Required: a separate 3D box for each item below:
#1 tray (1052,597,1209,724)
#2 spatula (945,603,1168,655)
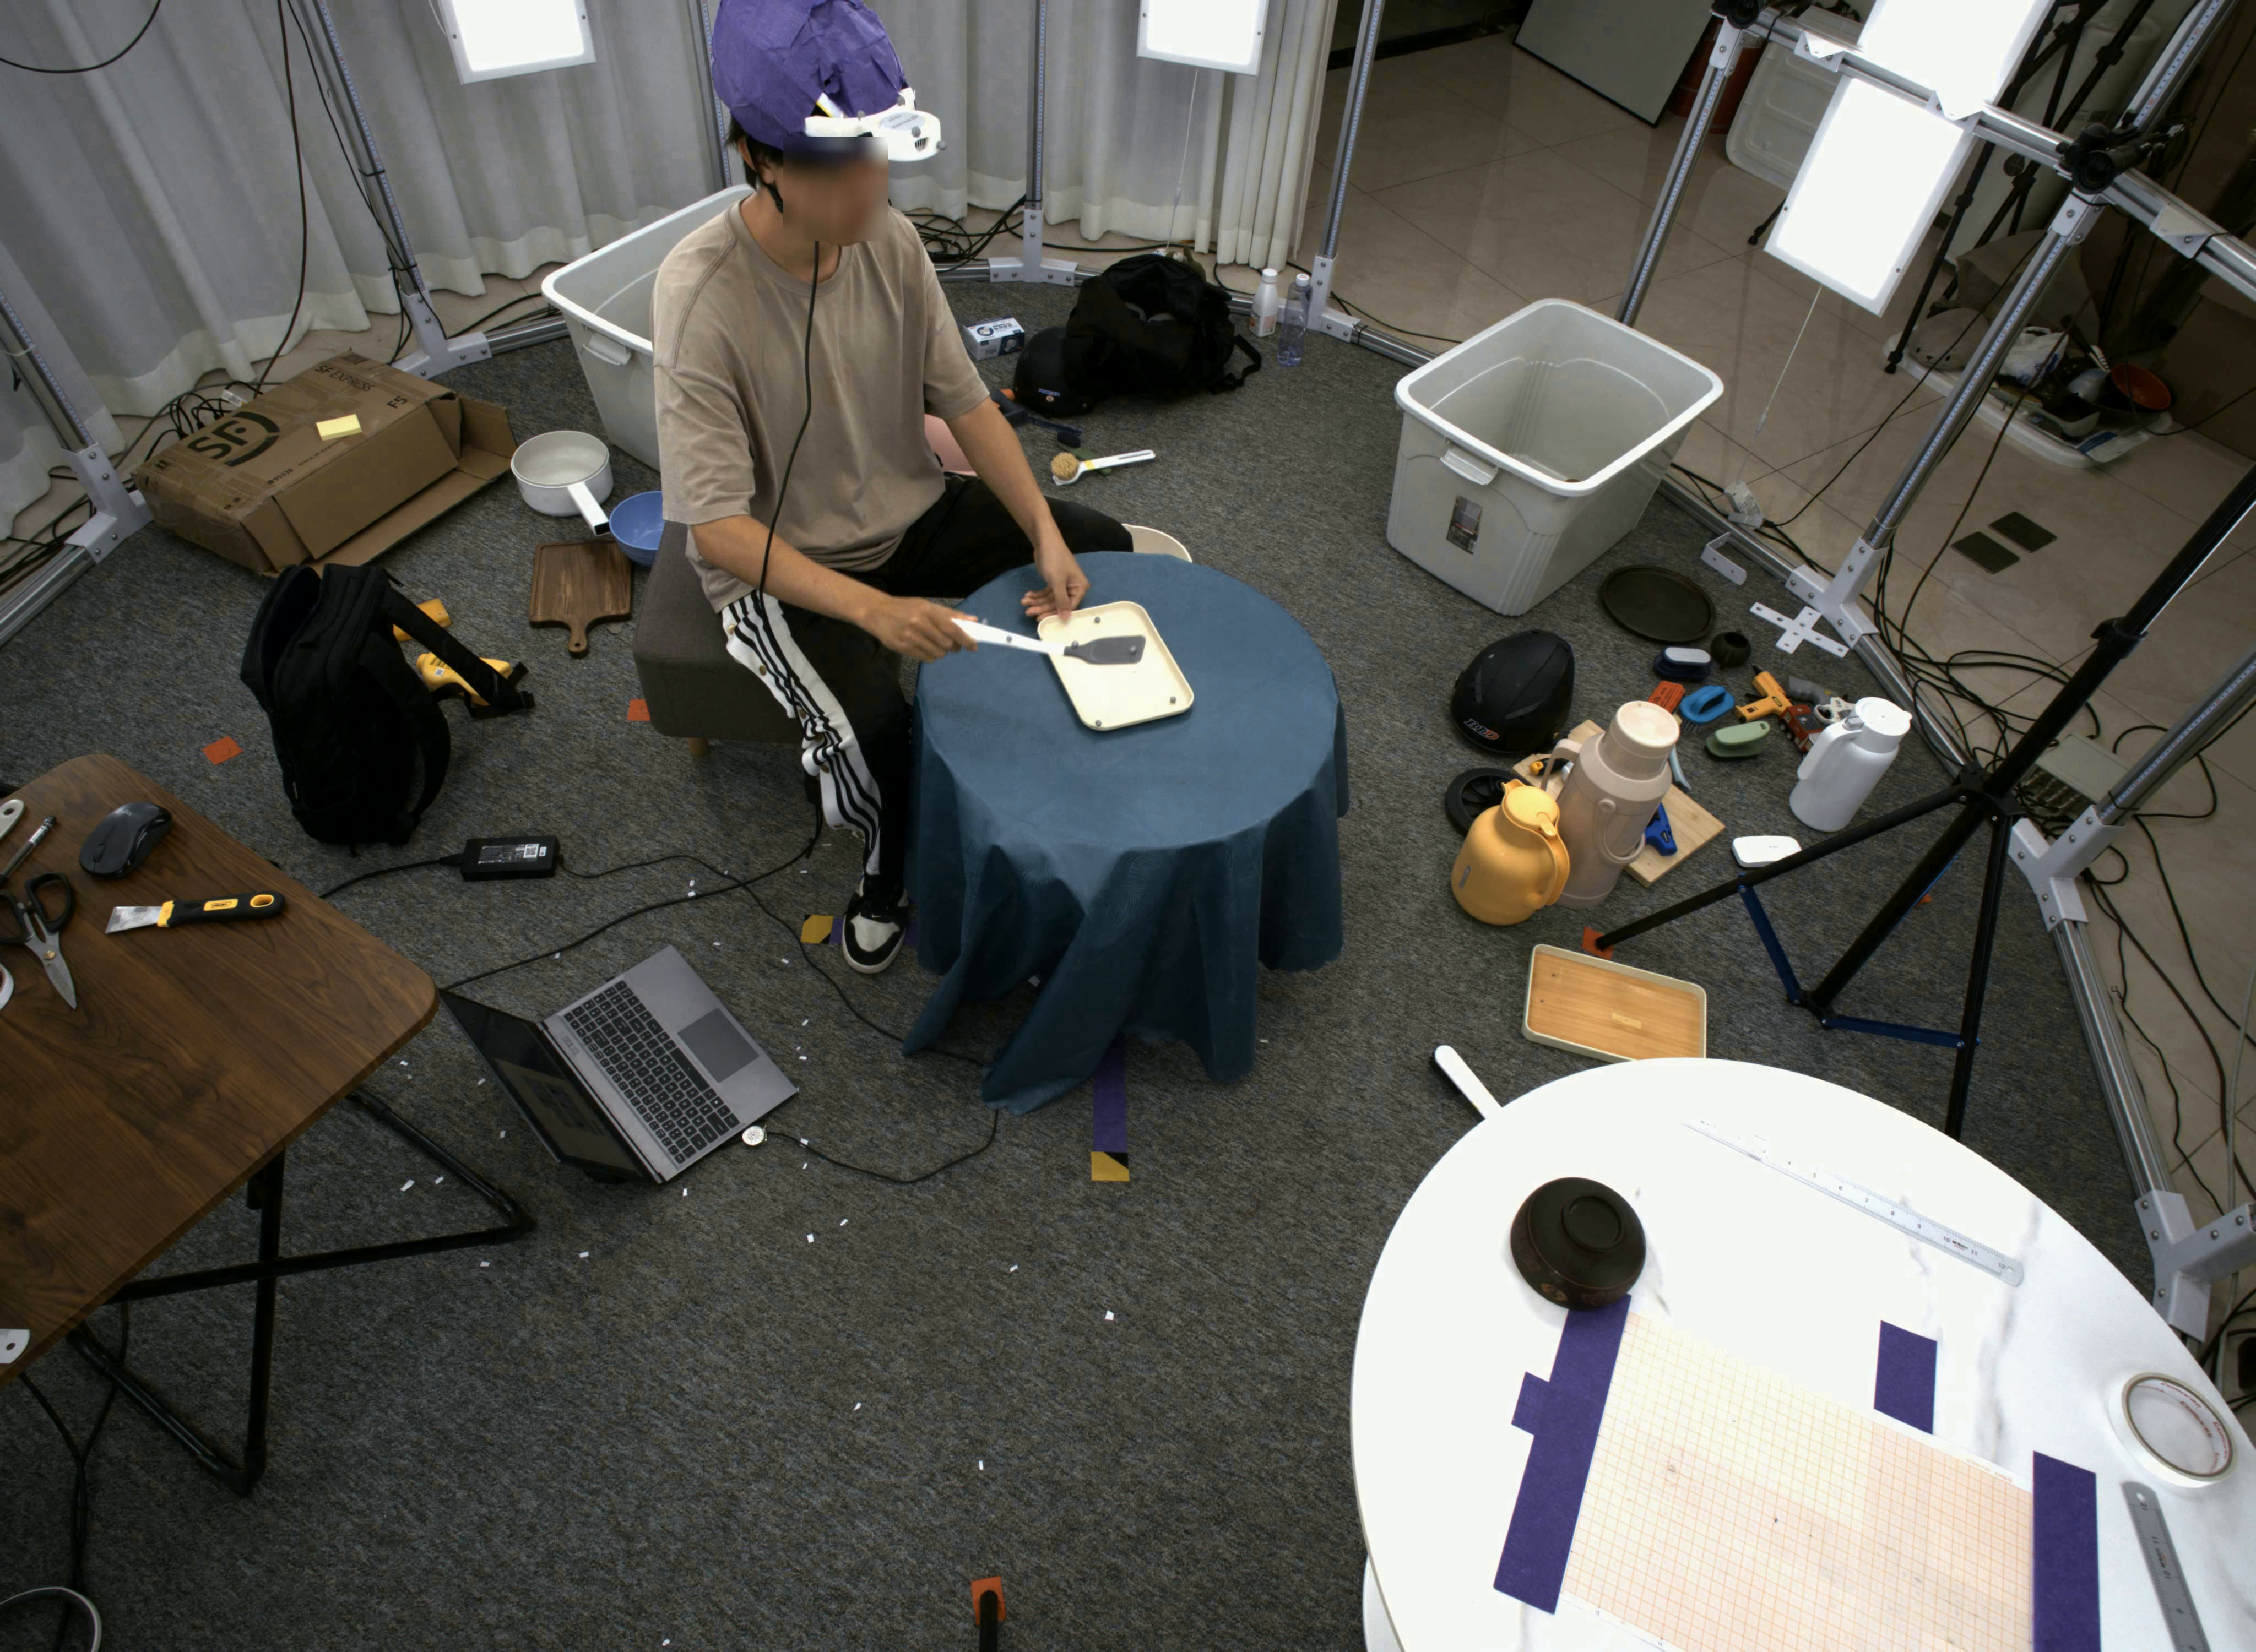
[{"bbox_3d":[0.002,-0.241,1.851,0.171,0.017,0.245,-13,51,-18],"label":"tray"},{"bbox_3d":[-0.092,-0.254,1.661,0.288,0.031,0.060,8,46,6],"label":"spatula"}]
